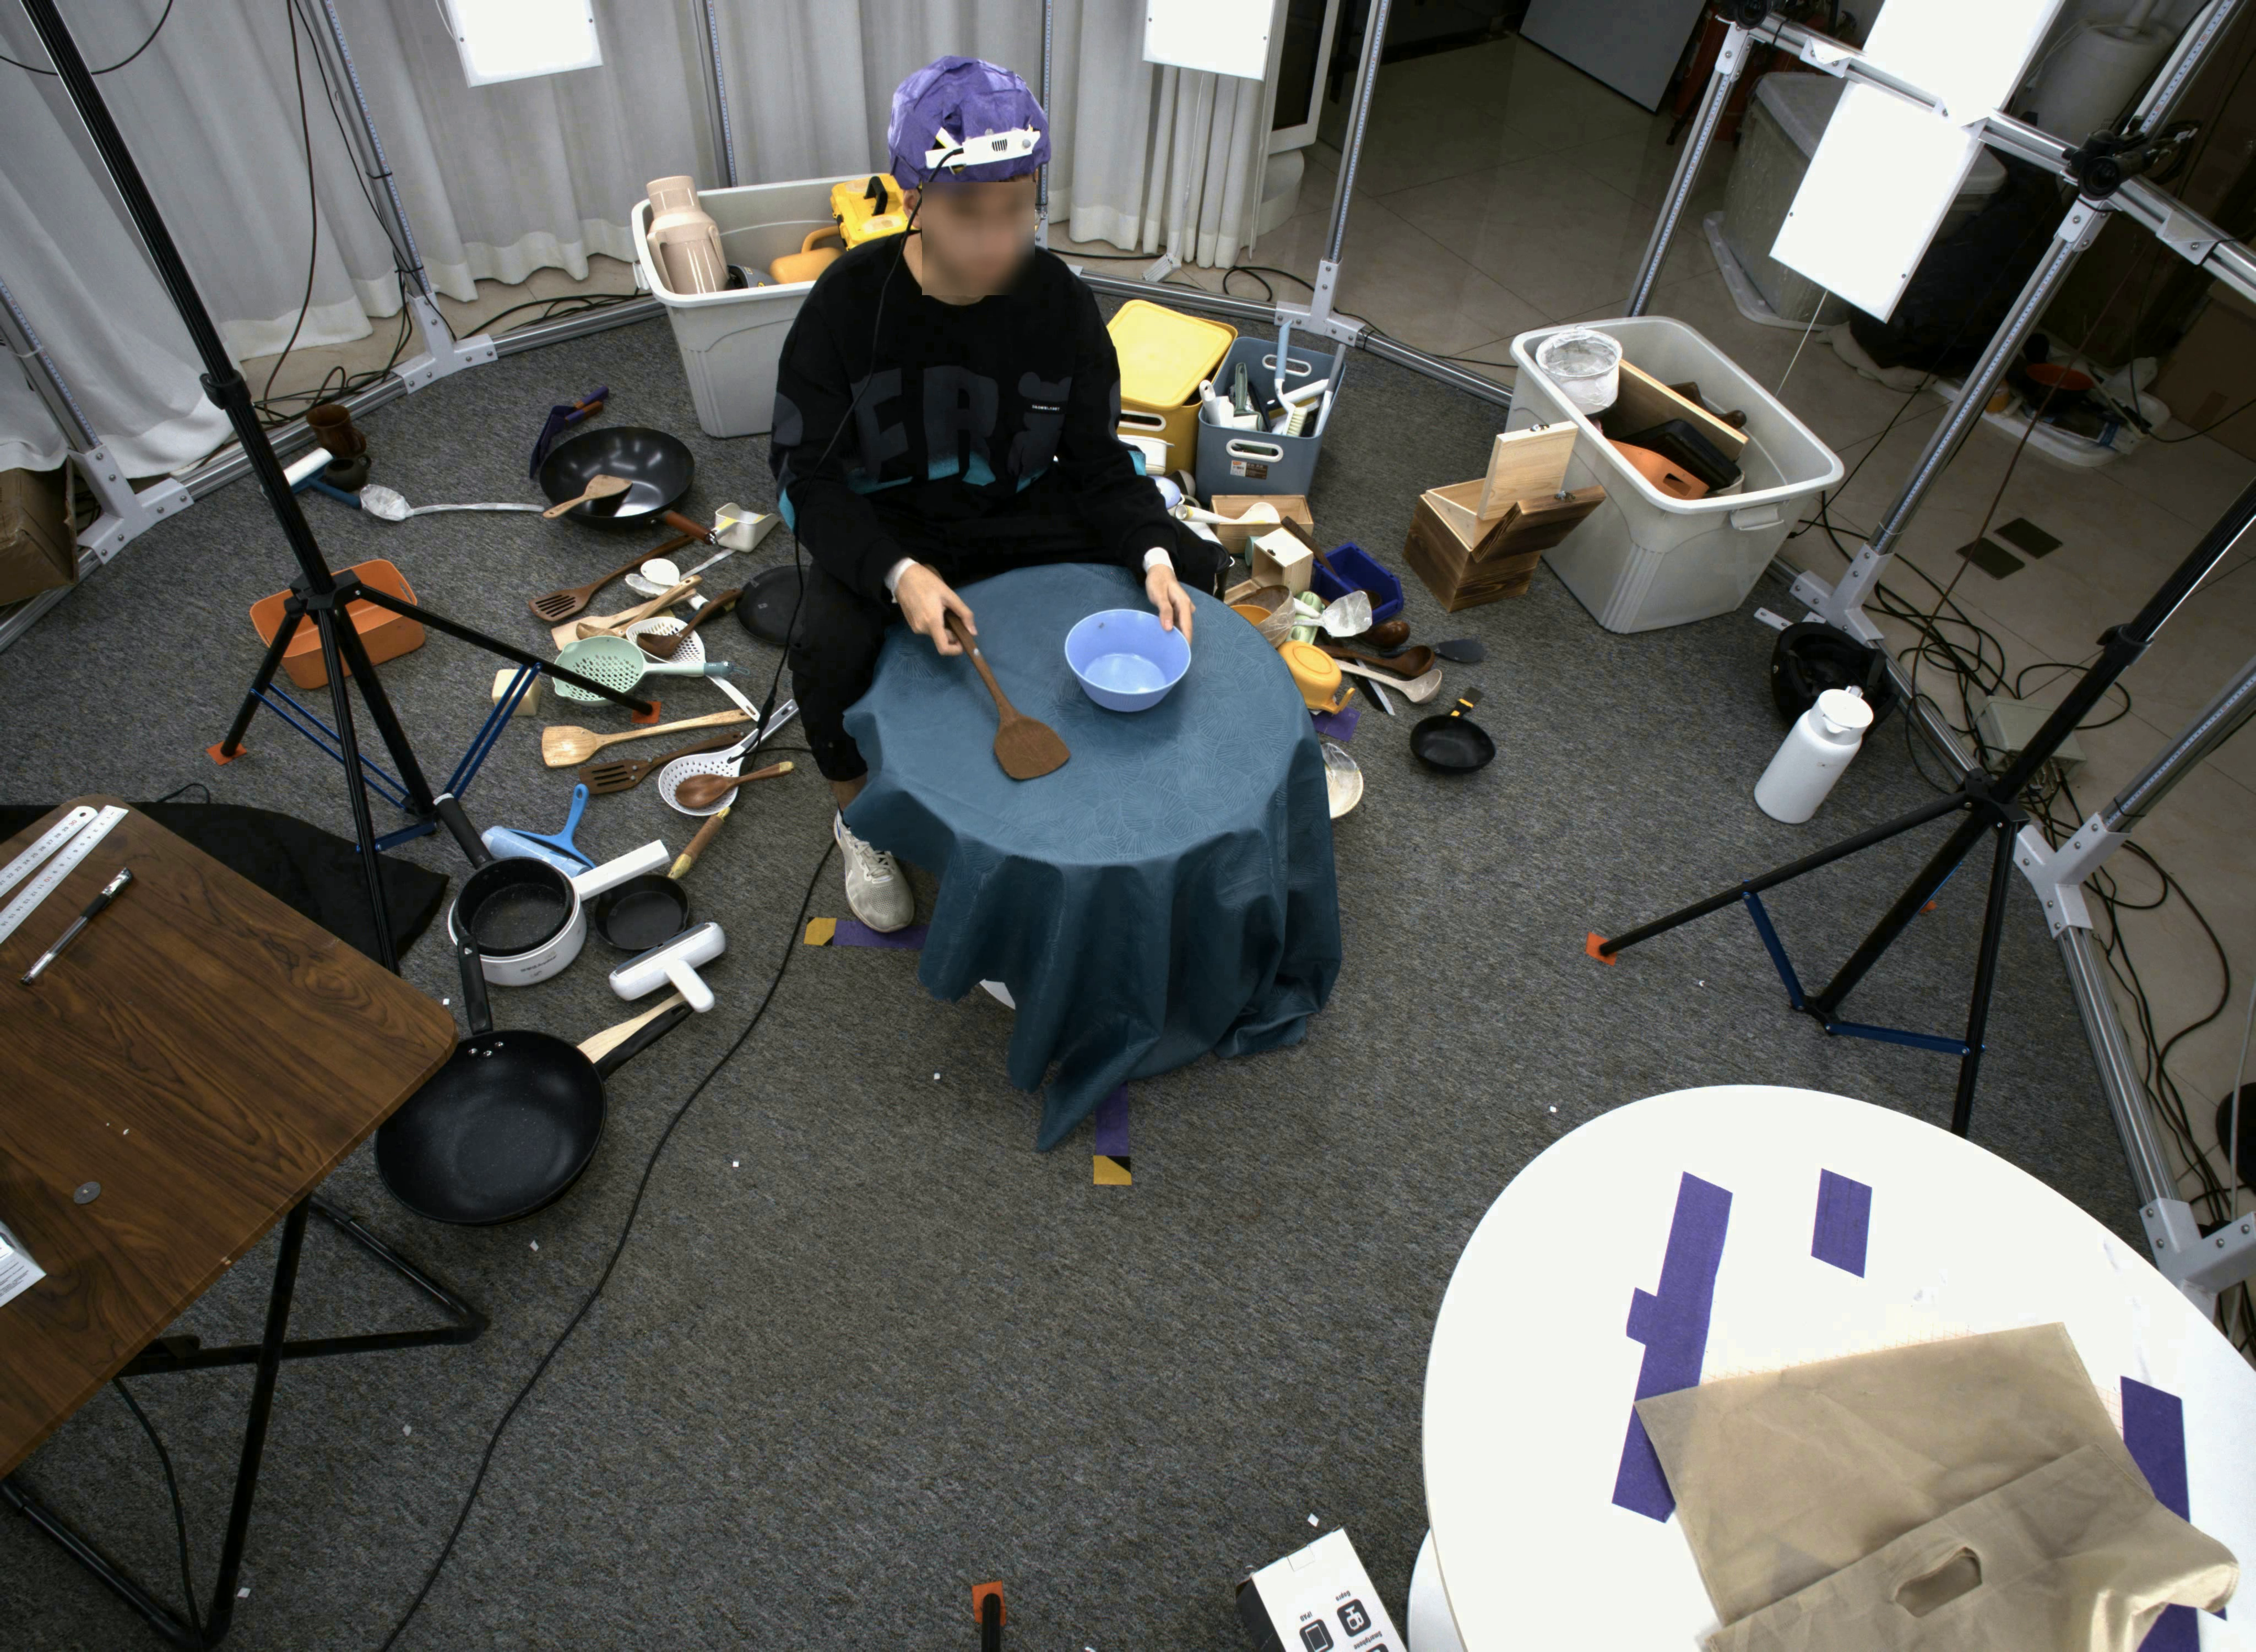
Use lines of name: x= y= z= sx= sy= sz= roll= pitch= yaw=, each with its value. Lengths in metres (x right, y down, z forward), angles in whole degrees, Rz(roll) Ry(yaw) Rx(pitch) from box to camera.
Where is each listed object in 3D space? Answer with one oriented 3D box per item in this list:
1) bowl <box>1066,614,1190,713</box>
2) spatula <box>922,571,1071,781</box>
bowl: x=-0.002 y=-0.223 z=1.831 sx=0.176 sy=0.068 sz=0.180 roll=3 pitch=46 yaw=-3
spatula: x=-0.202 y=-0.221 z=1.814 sx=0.096 sy=0.015 sz=0.393 roll=-22 pitch=65 yaw=-20
